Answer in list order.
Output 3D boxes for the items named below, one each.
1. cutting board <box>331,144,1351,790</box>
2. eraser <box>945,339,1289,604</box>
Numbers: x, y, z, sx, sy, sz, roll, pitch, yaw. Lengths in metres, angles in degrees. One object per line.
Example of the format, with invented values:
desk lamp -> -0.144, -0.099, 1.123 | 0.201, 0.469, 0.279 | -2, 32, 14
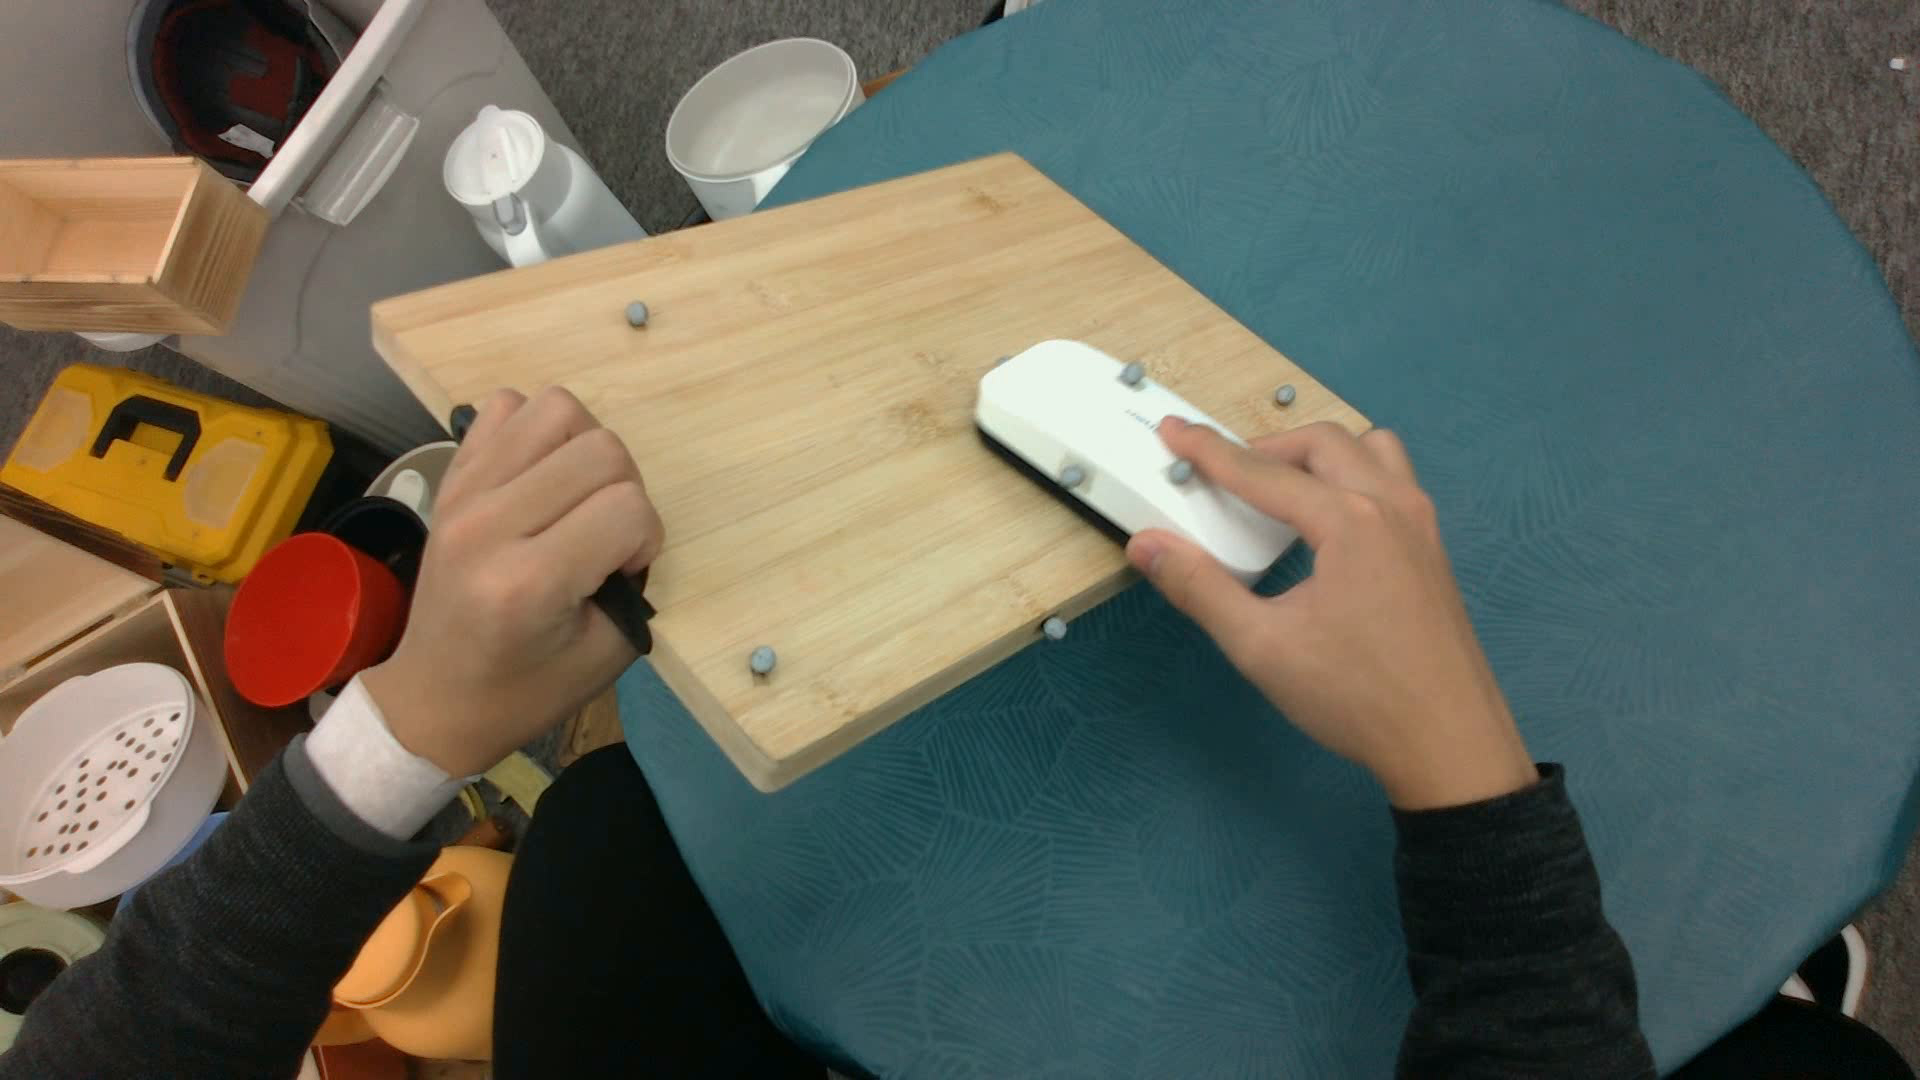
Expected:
cutting board -> -0.025, -0.064, 0.559 | 0.350, 0.023, 0.251 | -27, 59, -40
eraser -> 0.057, -0.029, 0.516 | 0.131, 0.034, 0.064 | 34, 44, 18
